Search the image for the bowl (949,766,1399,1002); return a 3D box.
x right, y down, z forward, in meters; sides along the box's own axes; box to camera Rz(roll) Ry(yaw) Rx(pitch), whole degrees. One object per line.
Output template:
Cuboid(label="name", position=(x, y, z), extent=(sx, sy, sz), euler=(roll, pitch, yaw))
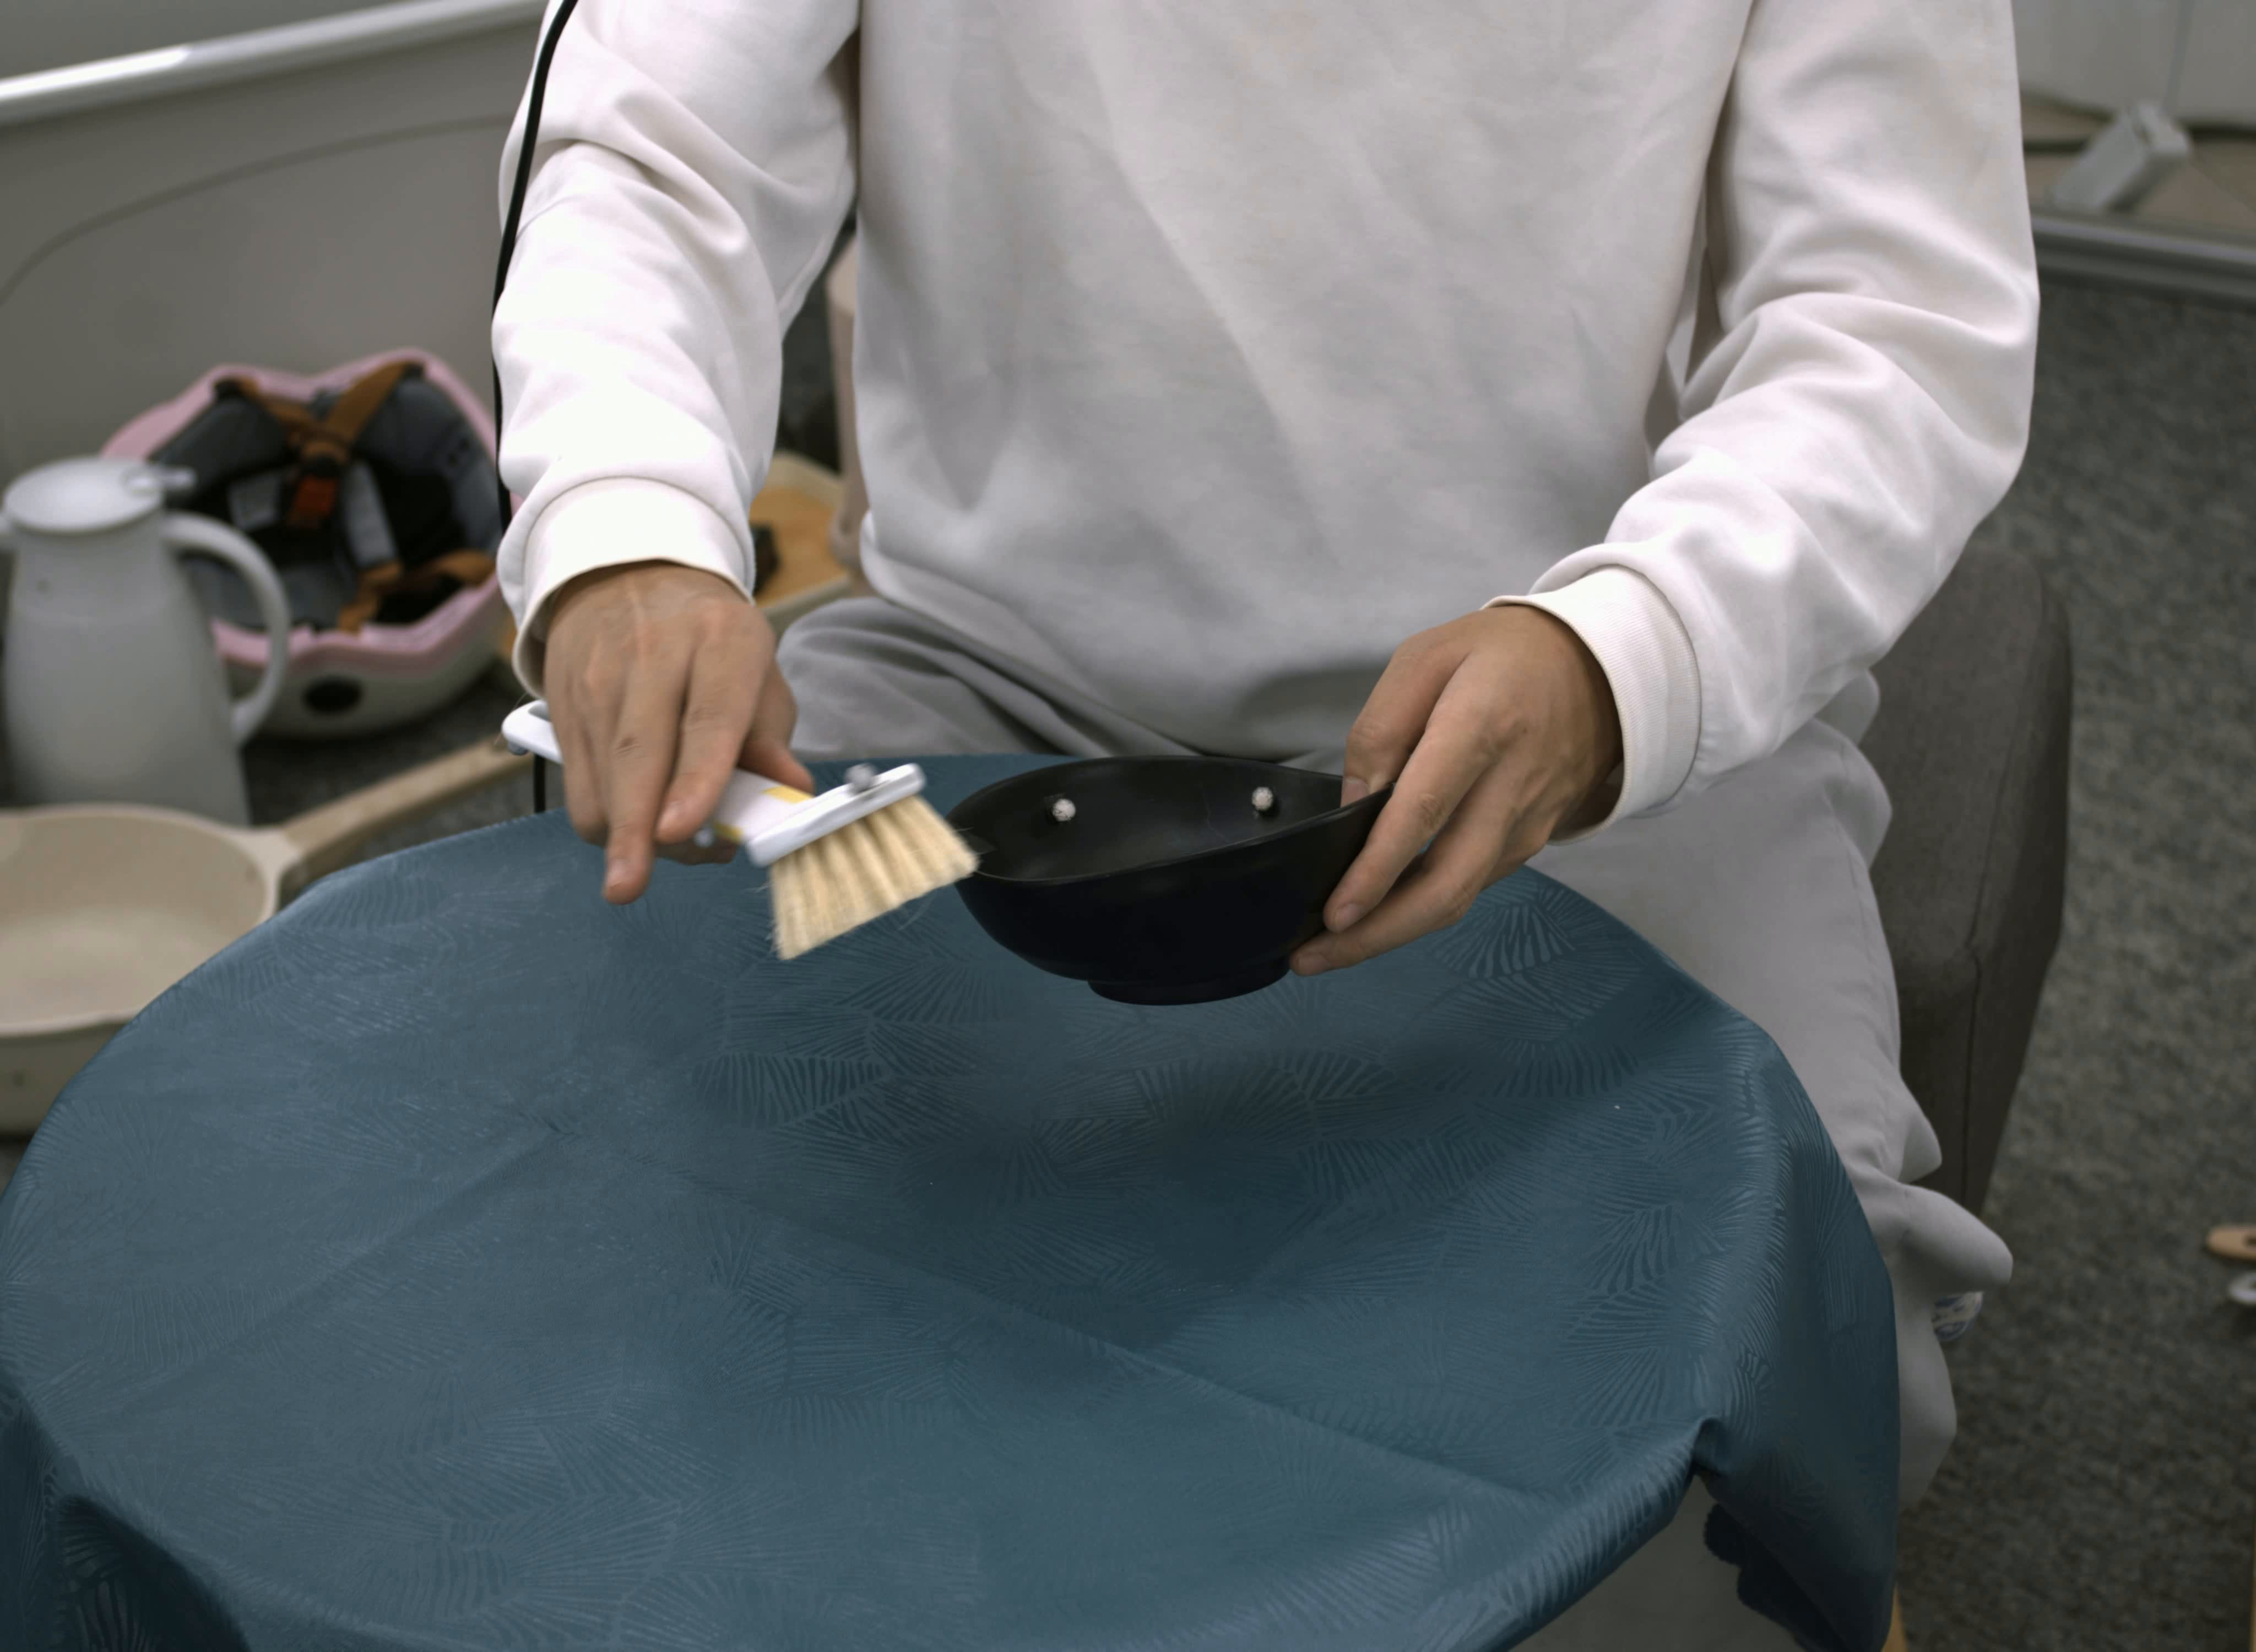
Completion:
Cuboid(label="bowl", position=(0.016, 0.020, 1.871), extent=(0.136, 0.066, 0.172), euler=(8, 17, 42))

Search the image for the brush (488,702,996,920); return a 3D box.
Cuboid(label="brush", position=(-0.134, -0.007, 1.862), extent=(0.069, 0.056, 0.265), euler=(-18, 14, -33))
